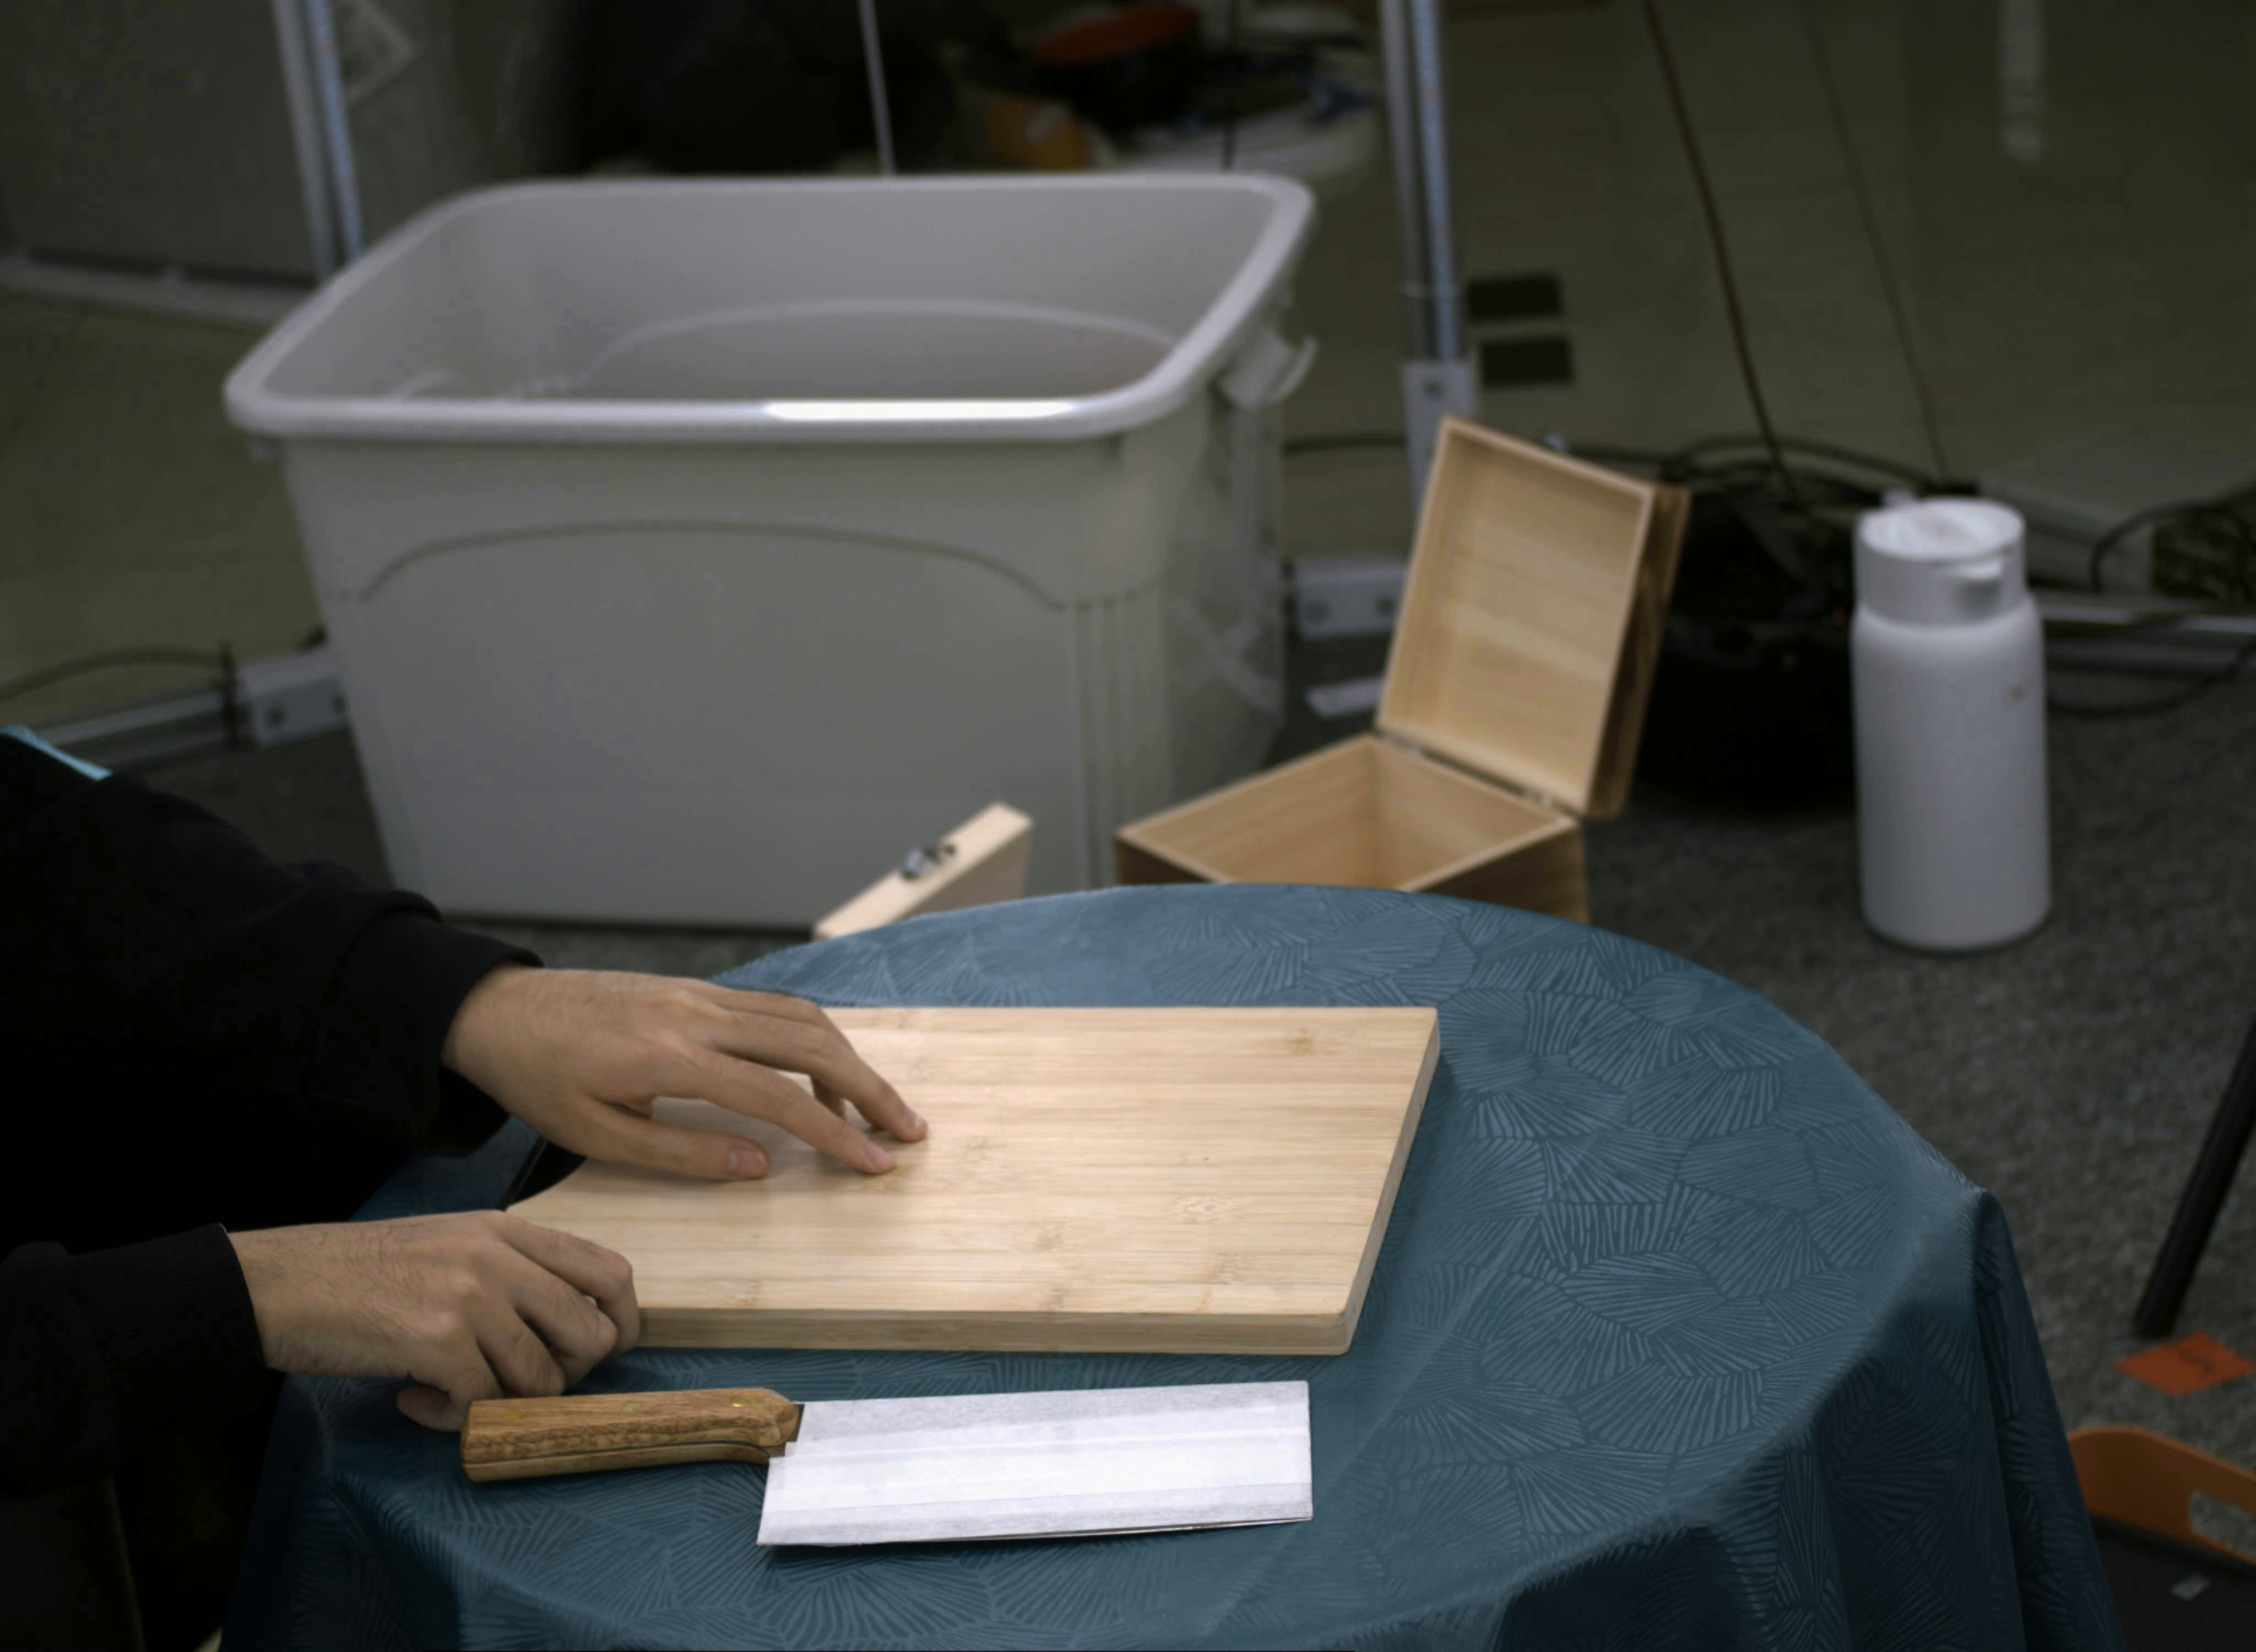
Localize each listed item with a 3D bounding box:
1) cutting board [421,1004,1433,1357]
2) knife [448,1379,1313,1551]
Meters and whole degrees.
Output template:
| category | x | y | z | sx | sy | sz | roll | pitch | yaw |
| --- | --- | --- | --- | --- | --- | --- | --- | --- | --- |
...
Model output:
| category | x | y | z | sx | sy | sz | roll | pitch | yaw |
| --- | --- | --- | --- | --- | --- | --- | --- | --- | --- |
| cutting board | -0.070 | 0.131 | 2.160 | 0.348 | 0.024 | 0.247 | -1 | 25 | 12 |
| knife | -0.088 | 0.223 | 1.972 | 0.305 | 0.021 | 0.091 | -3 | 27 | 2 |
